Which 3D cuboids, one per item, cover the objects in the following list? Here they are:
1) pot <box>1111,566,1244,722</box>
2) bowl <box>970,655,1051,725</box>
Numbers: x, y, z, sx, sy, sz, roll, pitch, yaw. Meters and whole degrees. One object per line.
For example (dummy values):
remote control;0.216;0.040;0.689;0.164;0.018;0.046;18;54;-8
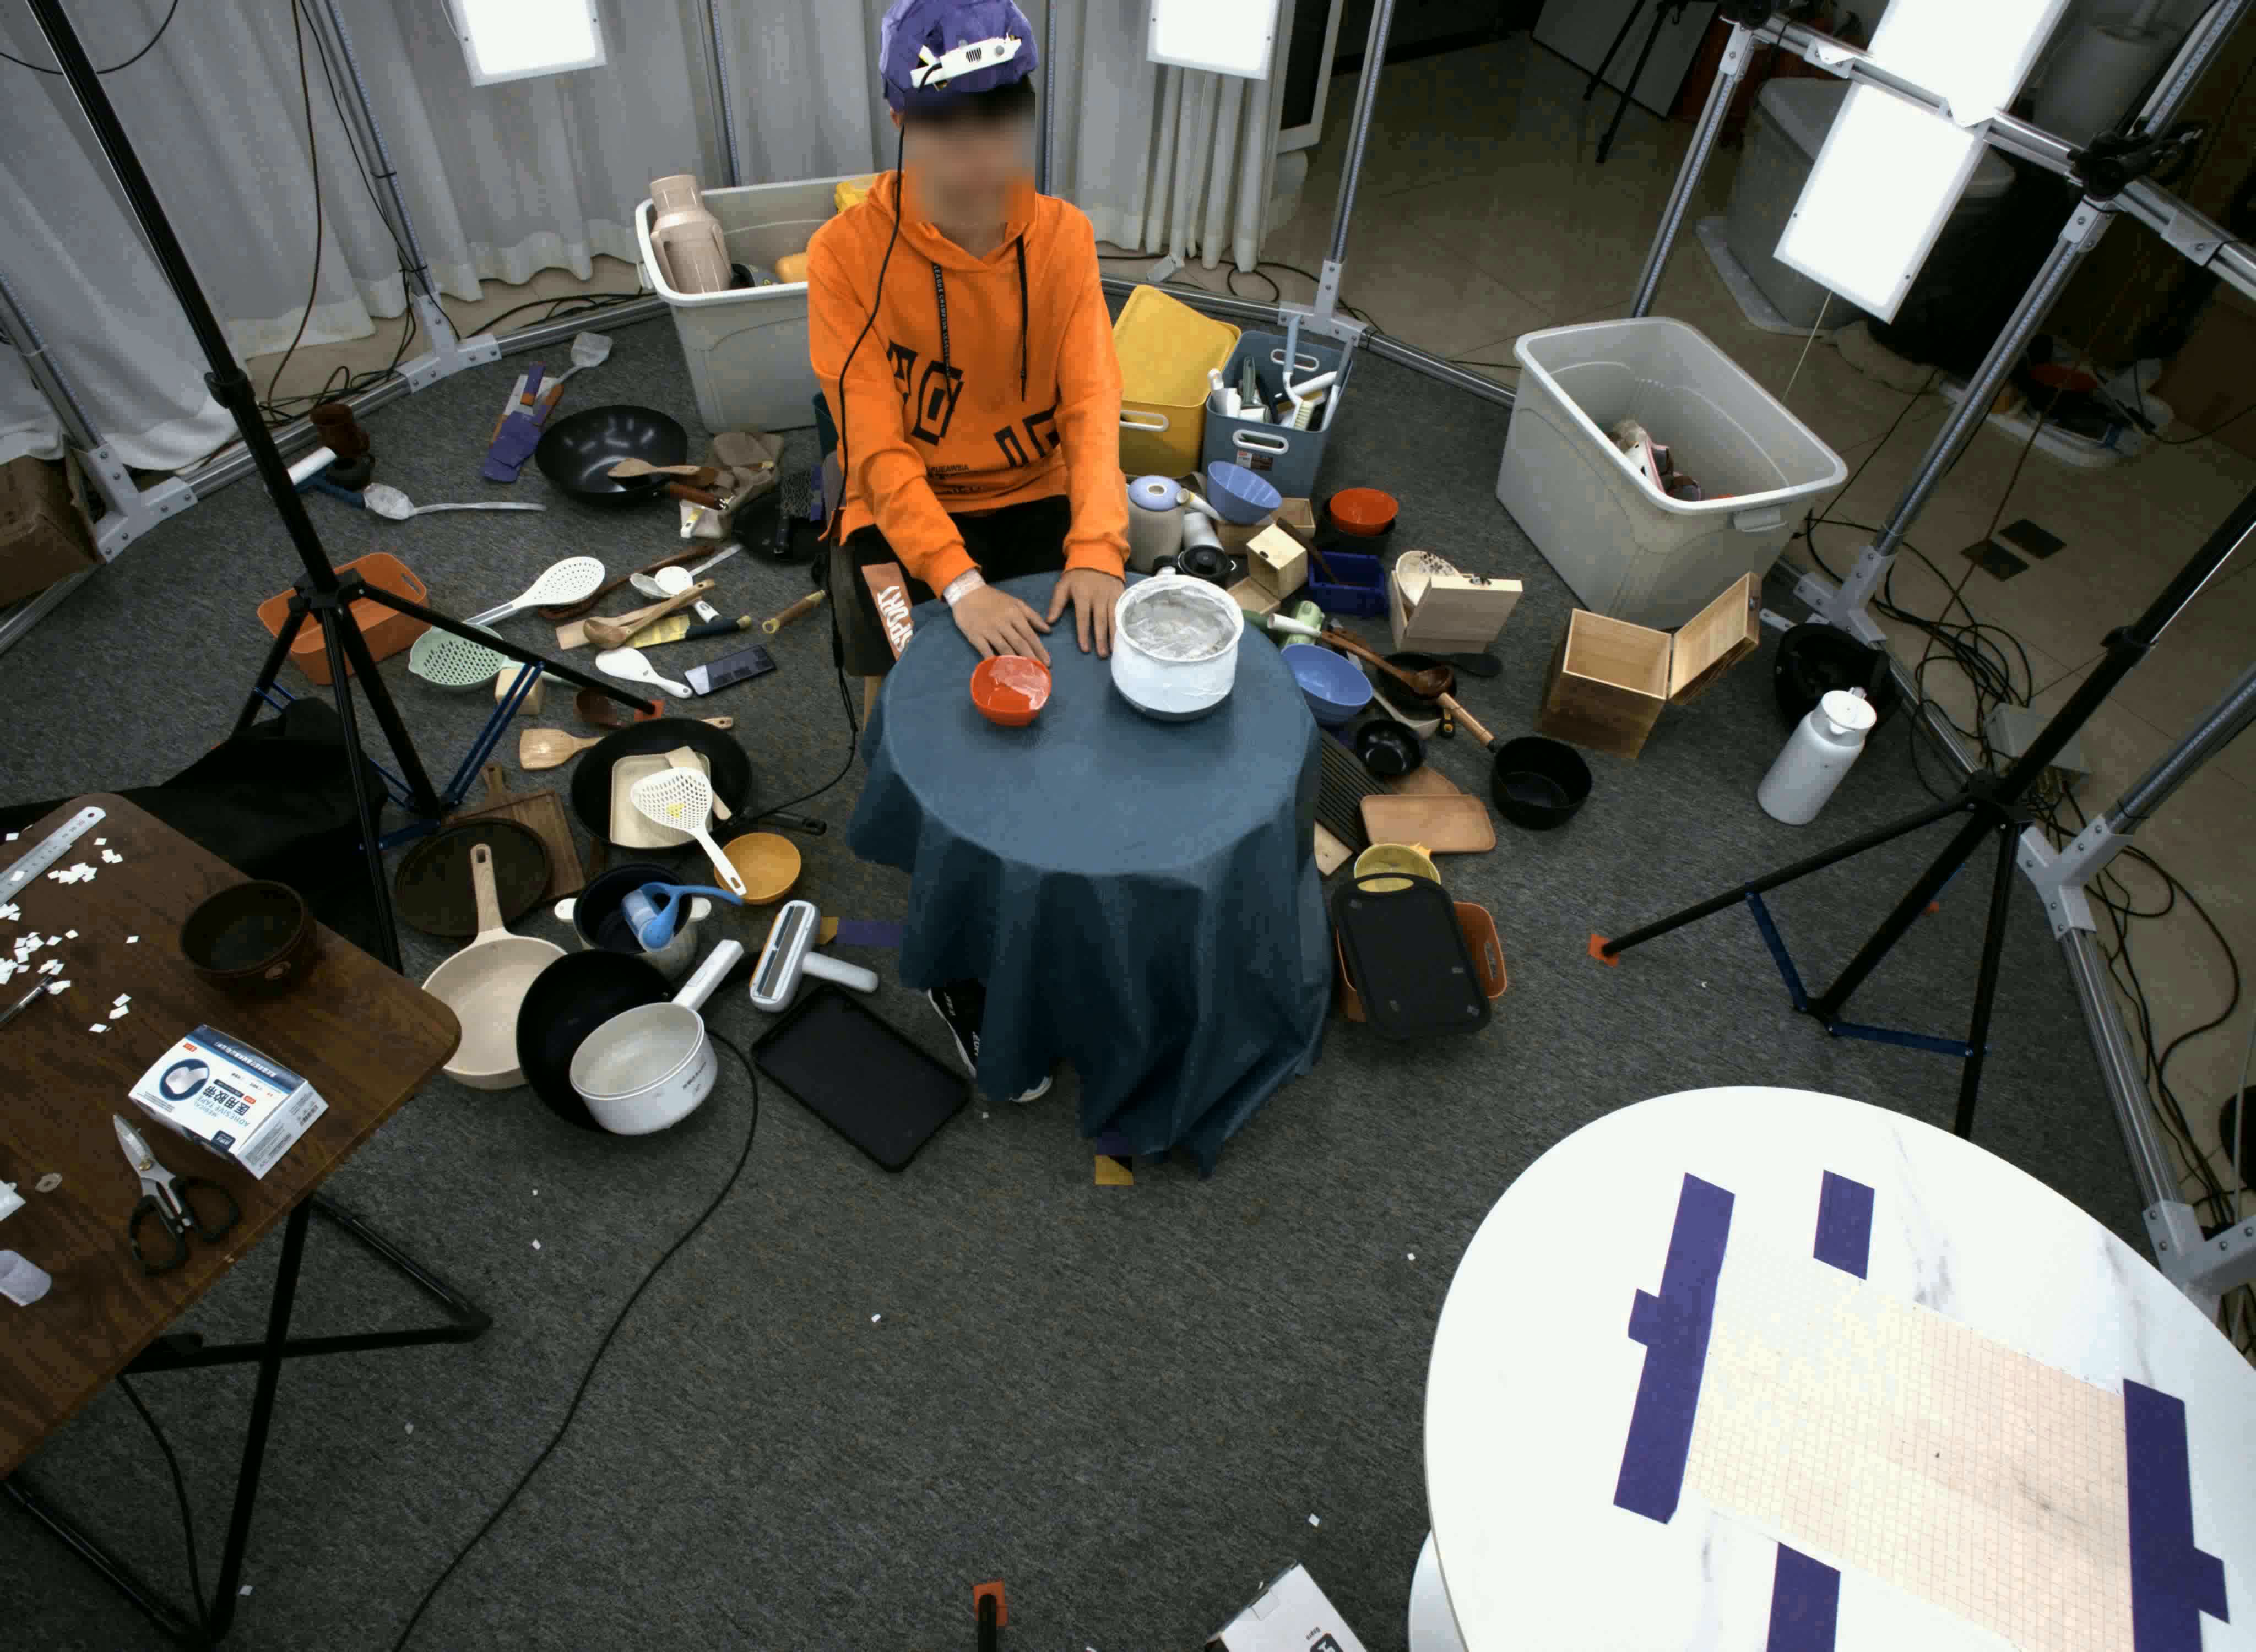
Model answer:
pot;0.062;-0.267;1.816;0.178;0.133;0.239;-4;50;-8
bowl;-0.162;-0.182;1.783;0.119;0.050;0.122;1;50;-1
